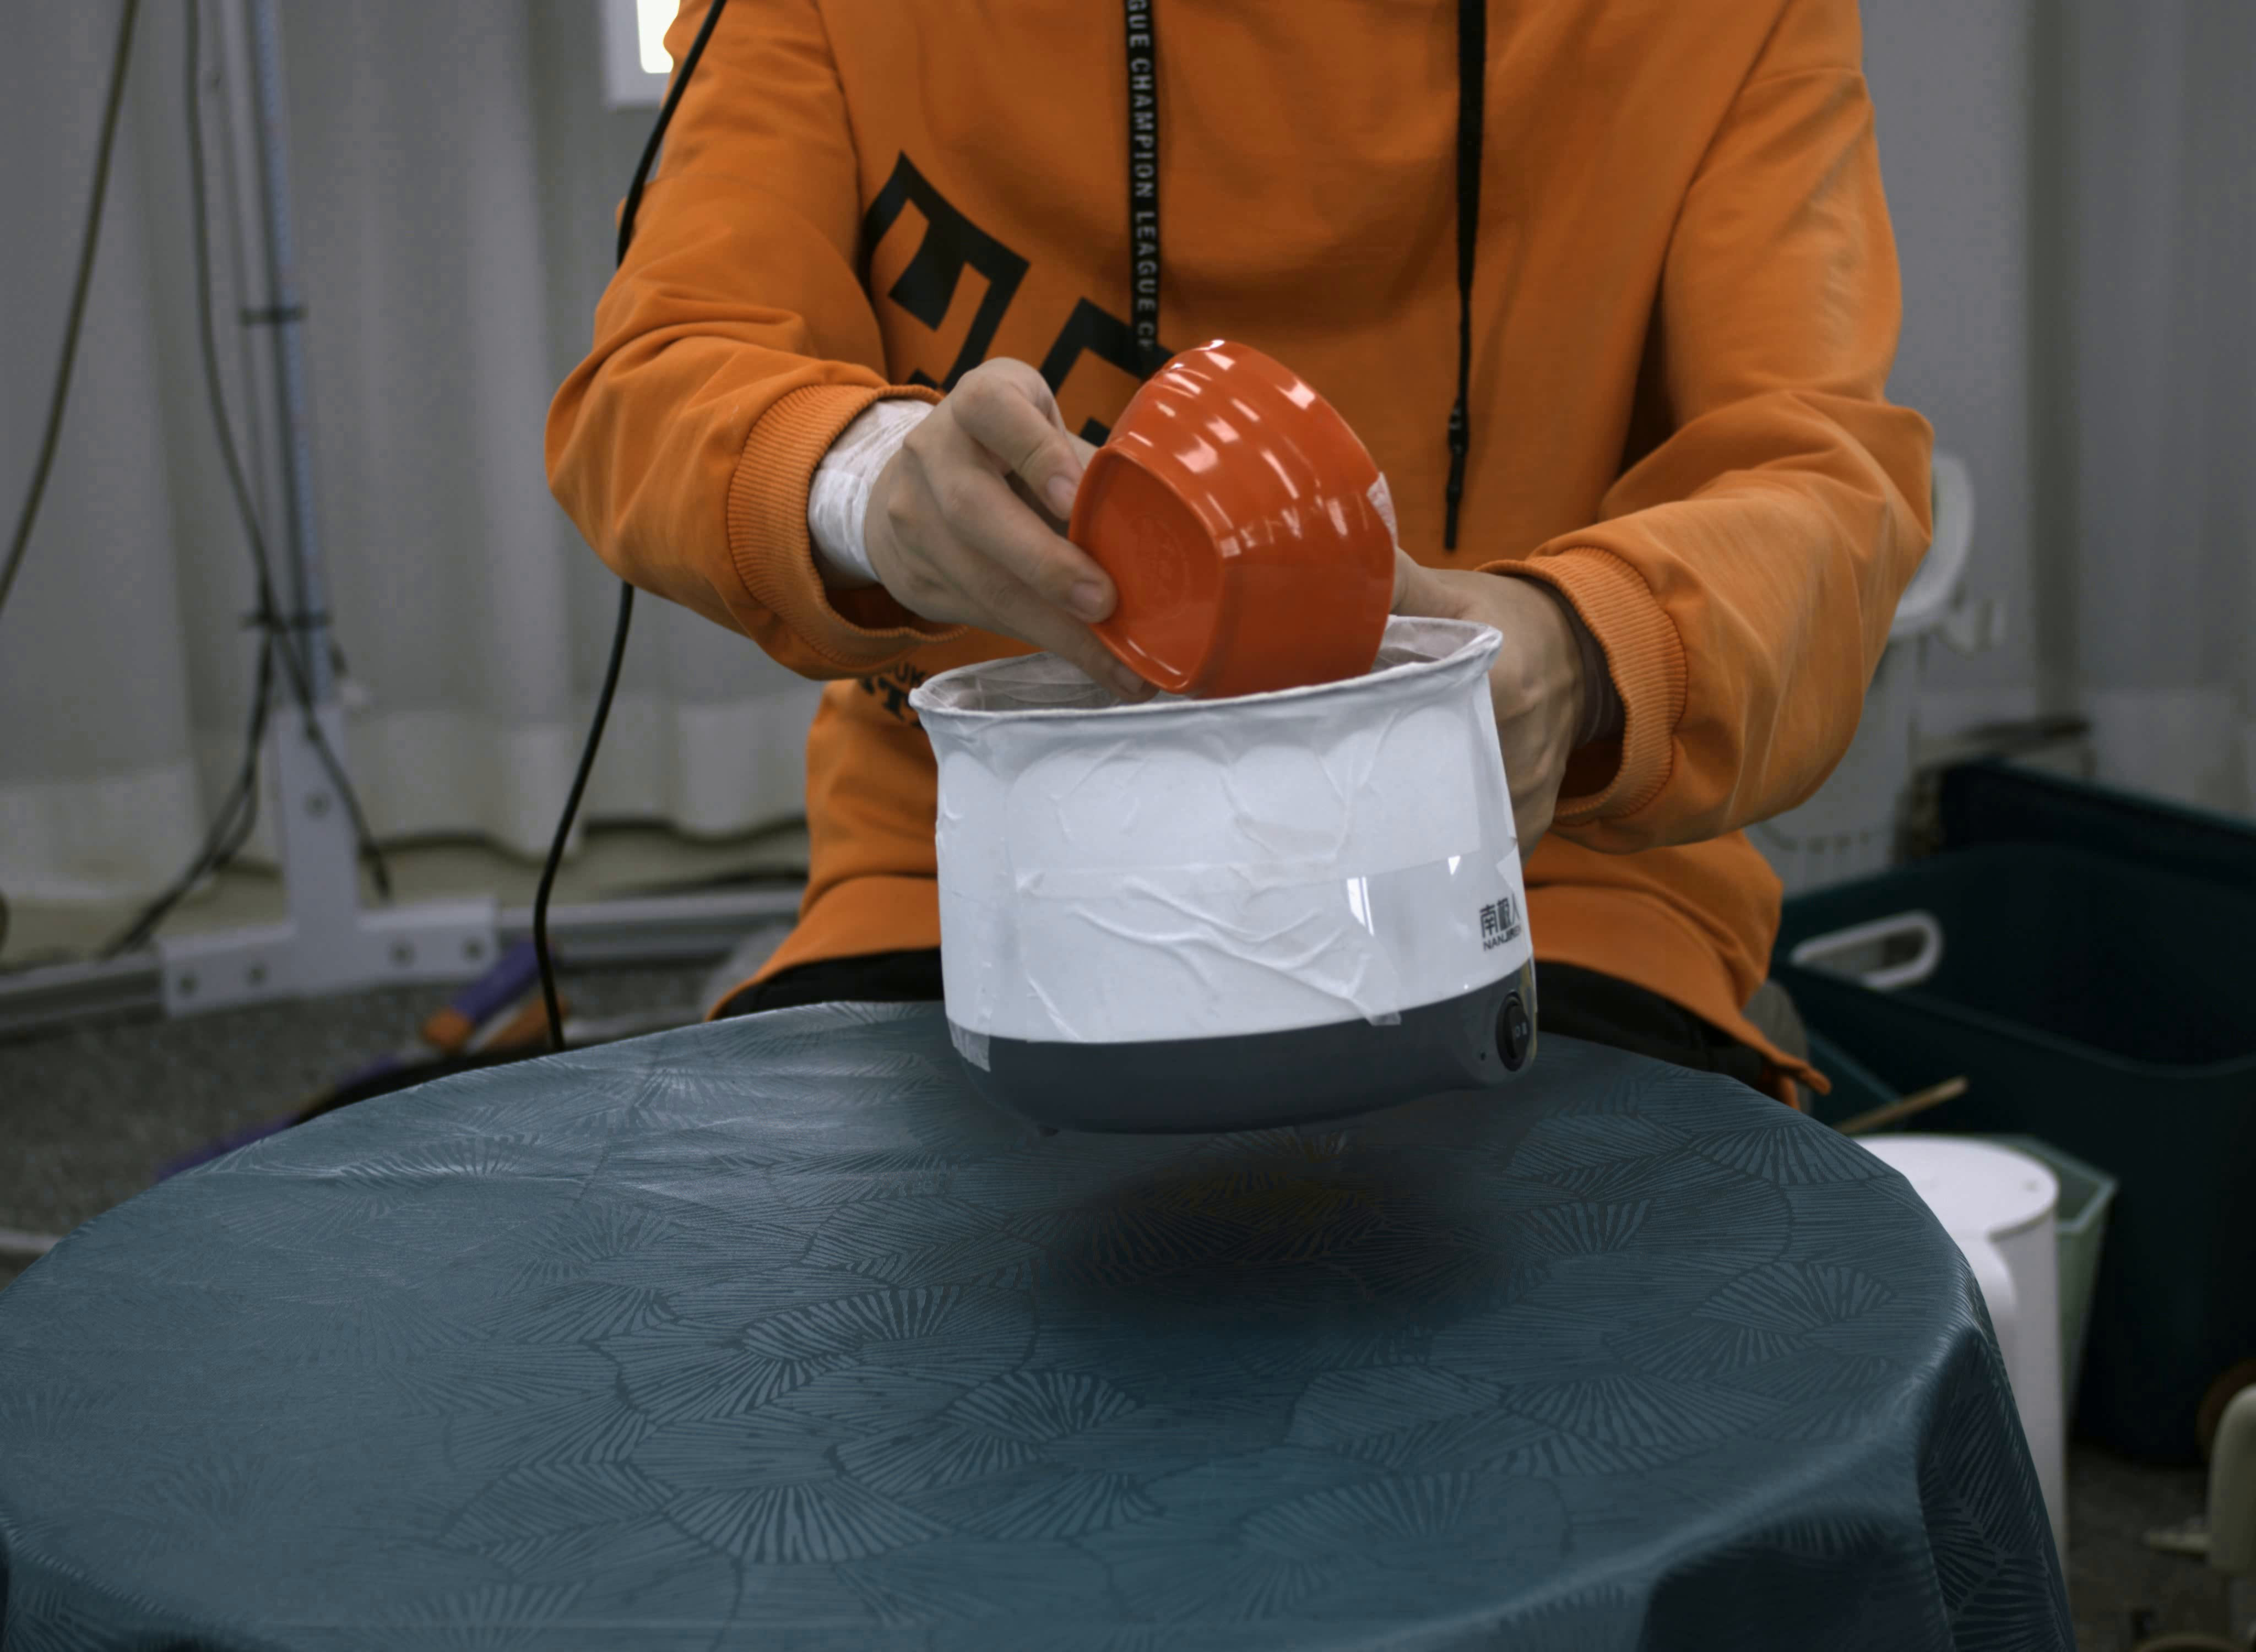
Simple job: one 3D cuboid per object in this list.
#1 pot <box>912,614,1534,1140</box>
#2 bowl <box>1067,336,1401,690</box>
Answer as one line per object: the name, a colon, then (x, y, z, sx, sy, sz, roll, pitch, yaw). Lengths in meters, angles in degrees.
pot: (0.040, 0.009, 1.655, 0.179, 0.136, 0.234, -1, 10, 25)
bowl: (0.024, -0.082, 1.622, 0.051, 0.118, 0.119, -20, 22, -37)
